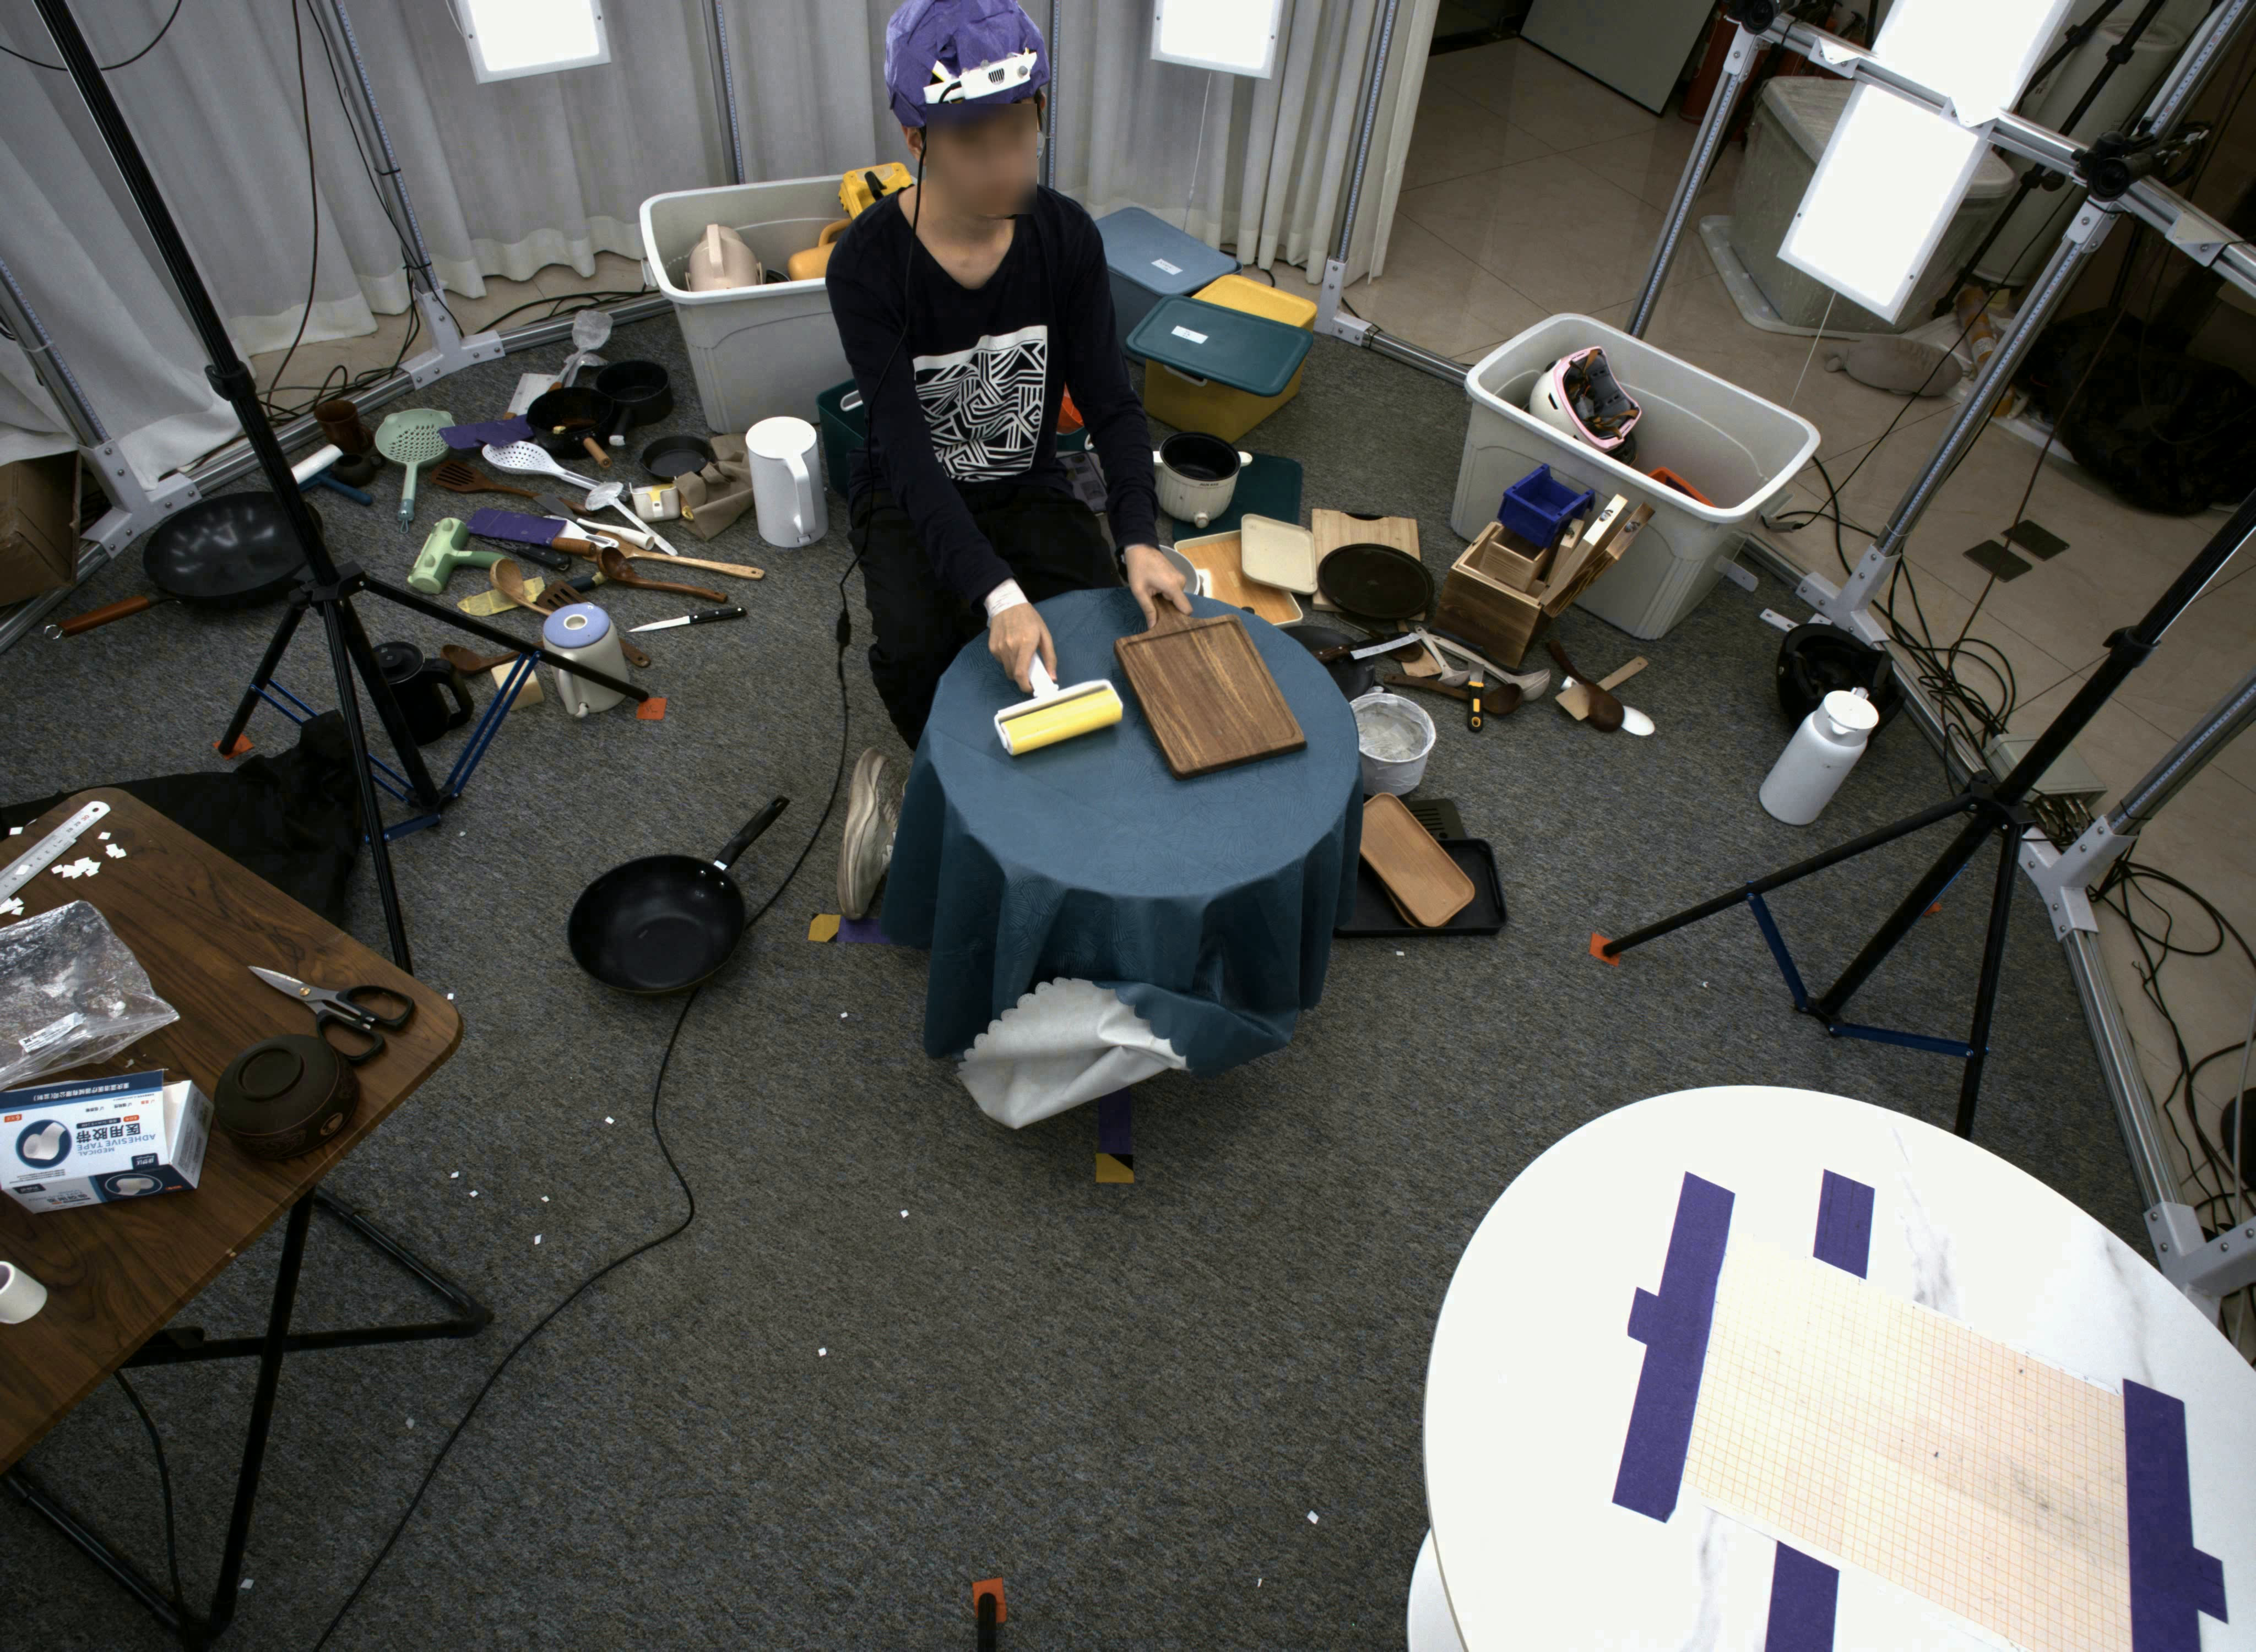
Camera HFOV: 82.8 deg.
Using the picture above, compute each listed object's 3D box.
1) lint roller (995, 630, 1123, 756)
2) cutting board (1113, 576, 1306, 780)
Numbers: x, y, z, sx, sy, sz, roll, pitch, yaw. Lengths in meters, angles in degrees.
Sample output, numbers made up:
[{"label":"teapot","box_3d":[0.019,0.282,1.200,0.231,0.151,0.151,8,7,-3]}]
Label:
[{"label":"lint roller","box_3d":[-0.121,-0.204,1.773,0.174,0.050,0.195,-21,68,-15]},{"label":"cutting board","box_3d":[0.095,-0.228,1.832,0.201,0.023,0.360,-14,57,-16]}]
